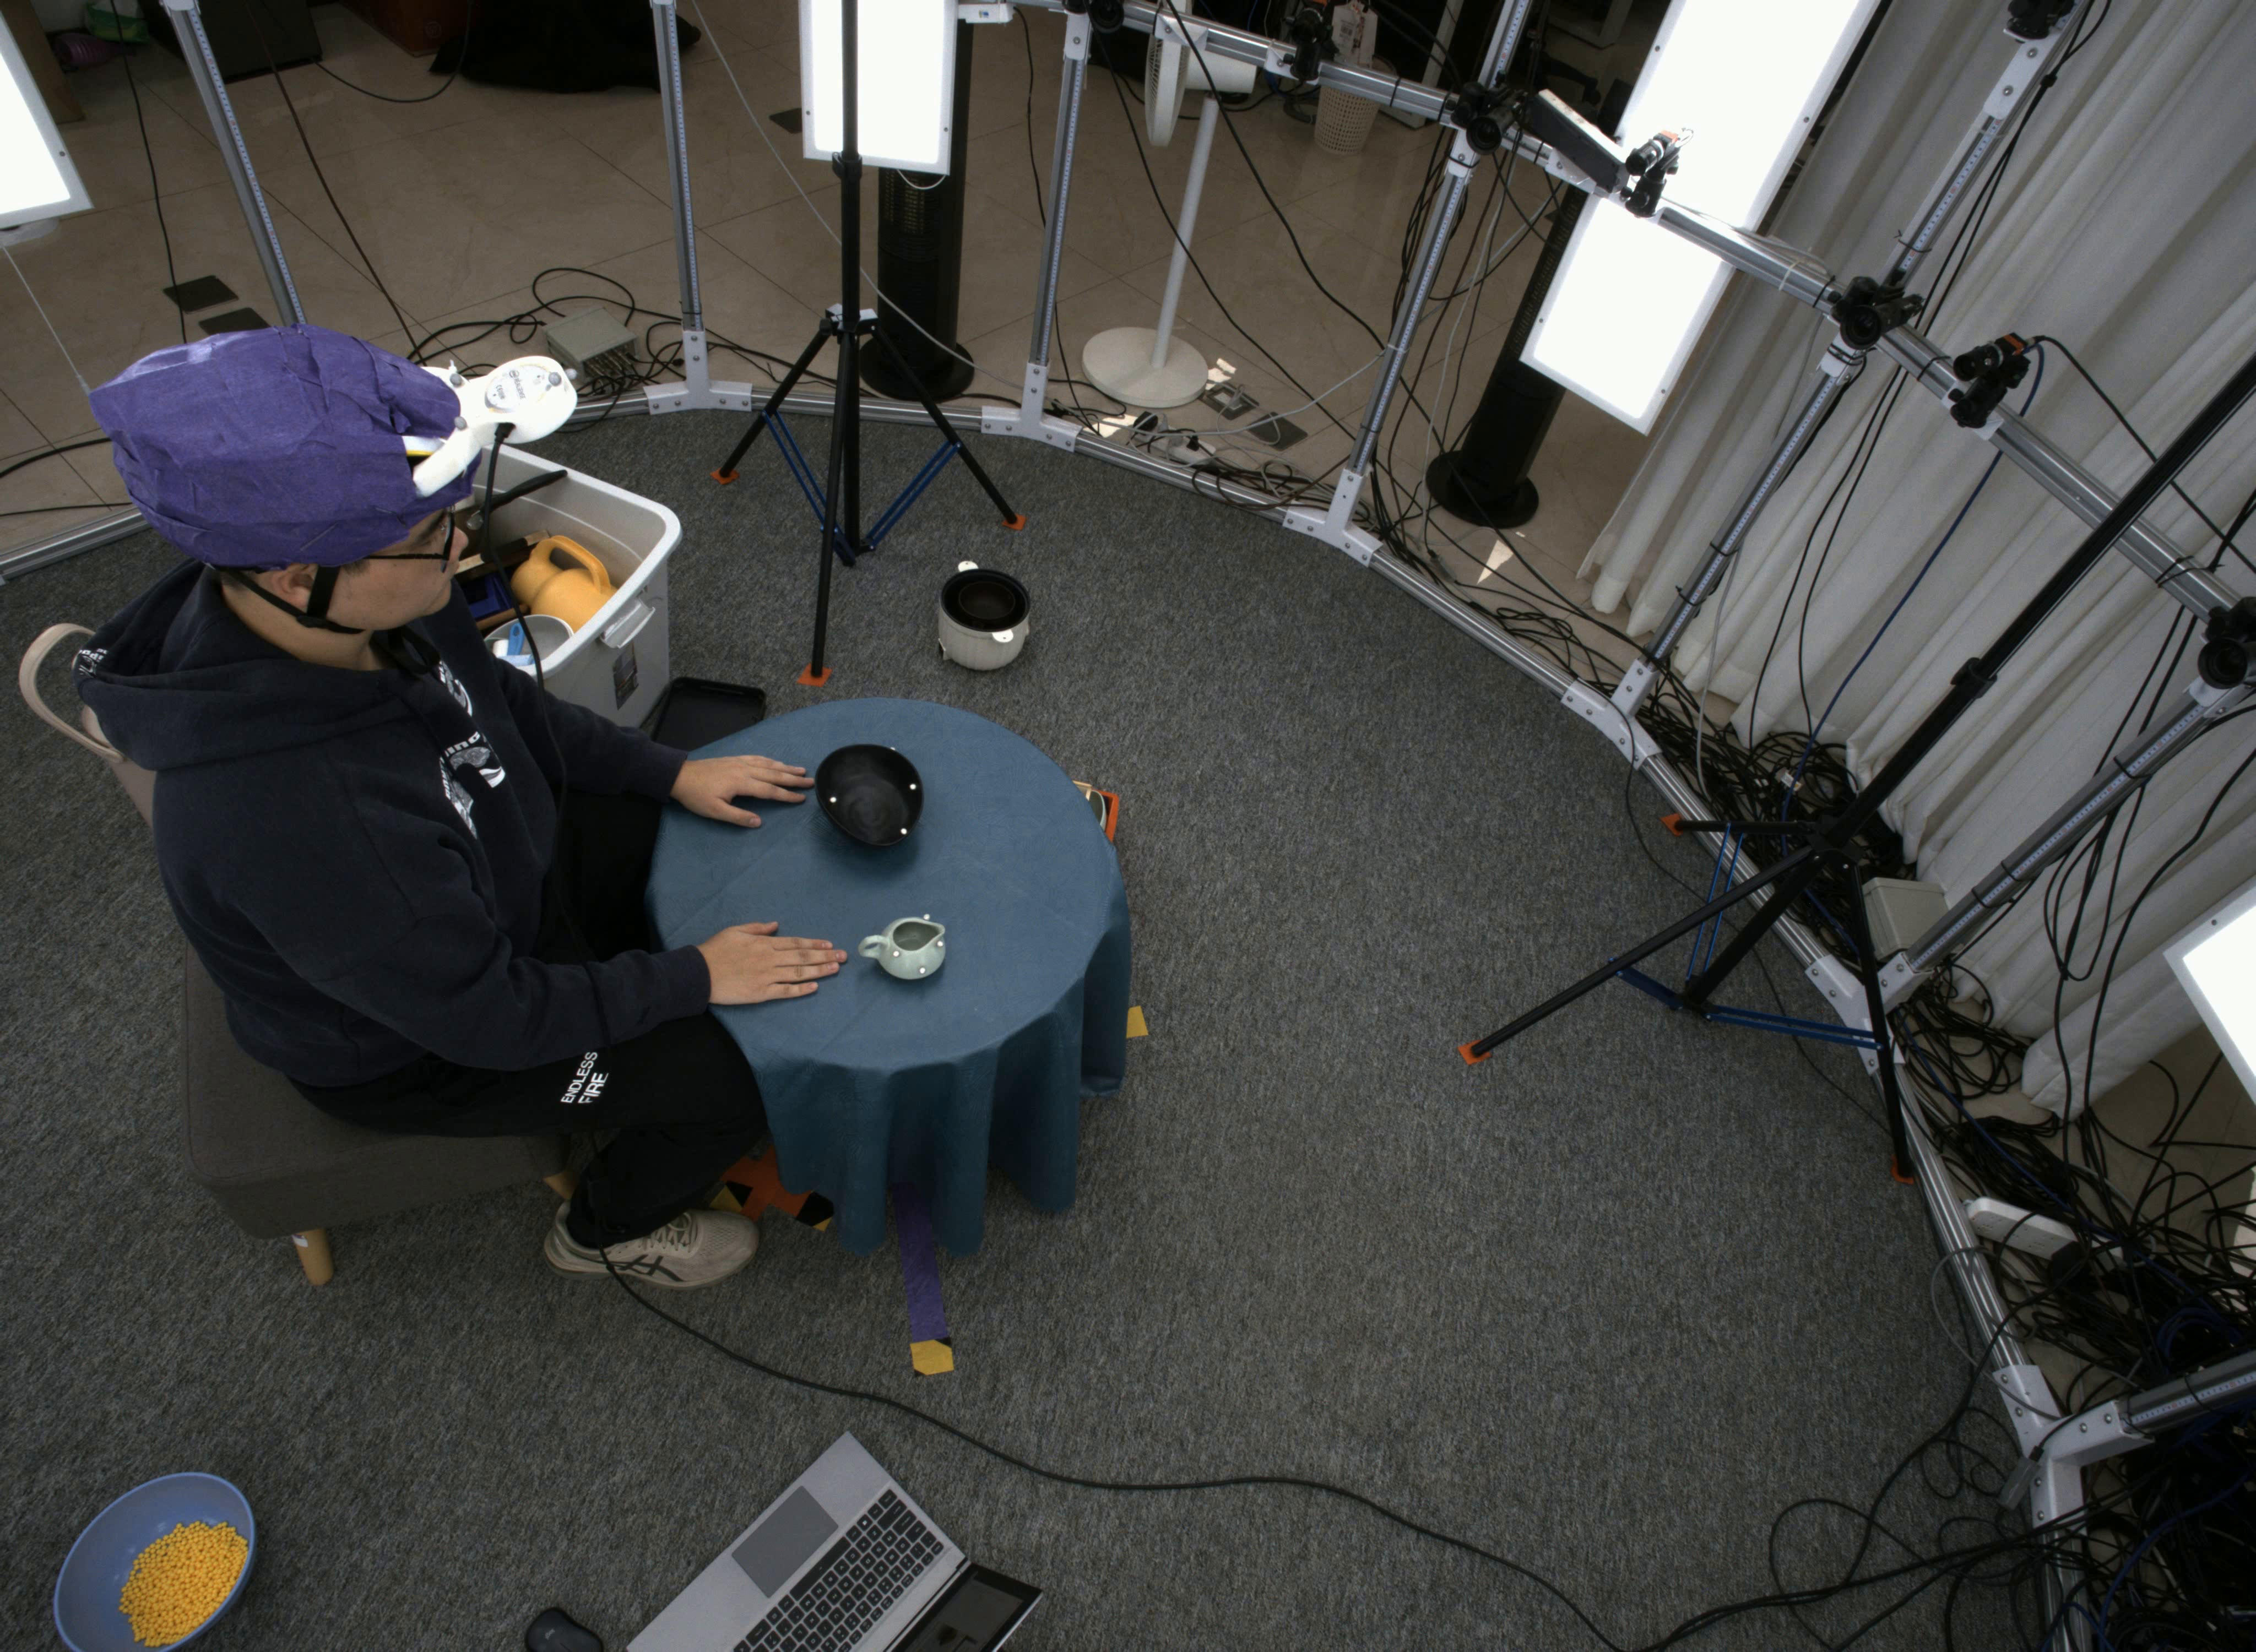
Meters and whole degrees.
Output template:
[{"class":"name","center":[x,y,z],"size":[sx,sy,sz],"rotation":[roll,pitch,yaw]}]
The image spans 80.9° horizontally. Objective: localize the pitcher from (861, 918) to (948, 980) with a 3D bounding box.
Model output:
[{"class":"pitcher","center":[-0.277,0.149,1.610],"size":[0.108,0.062,0.084],"rotation":[-11,55,-18]}]

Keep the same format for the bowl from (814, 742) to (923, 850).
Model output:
[{"class":"bowl","center":[-0.342,-0.032,1.724],"size":[0.138,0.068,0.166],"rotation":[-19,61,-25]}]
